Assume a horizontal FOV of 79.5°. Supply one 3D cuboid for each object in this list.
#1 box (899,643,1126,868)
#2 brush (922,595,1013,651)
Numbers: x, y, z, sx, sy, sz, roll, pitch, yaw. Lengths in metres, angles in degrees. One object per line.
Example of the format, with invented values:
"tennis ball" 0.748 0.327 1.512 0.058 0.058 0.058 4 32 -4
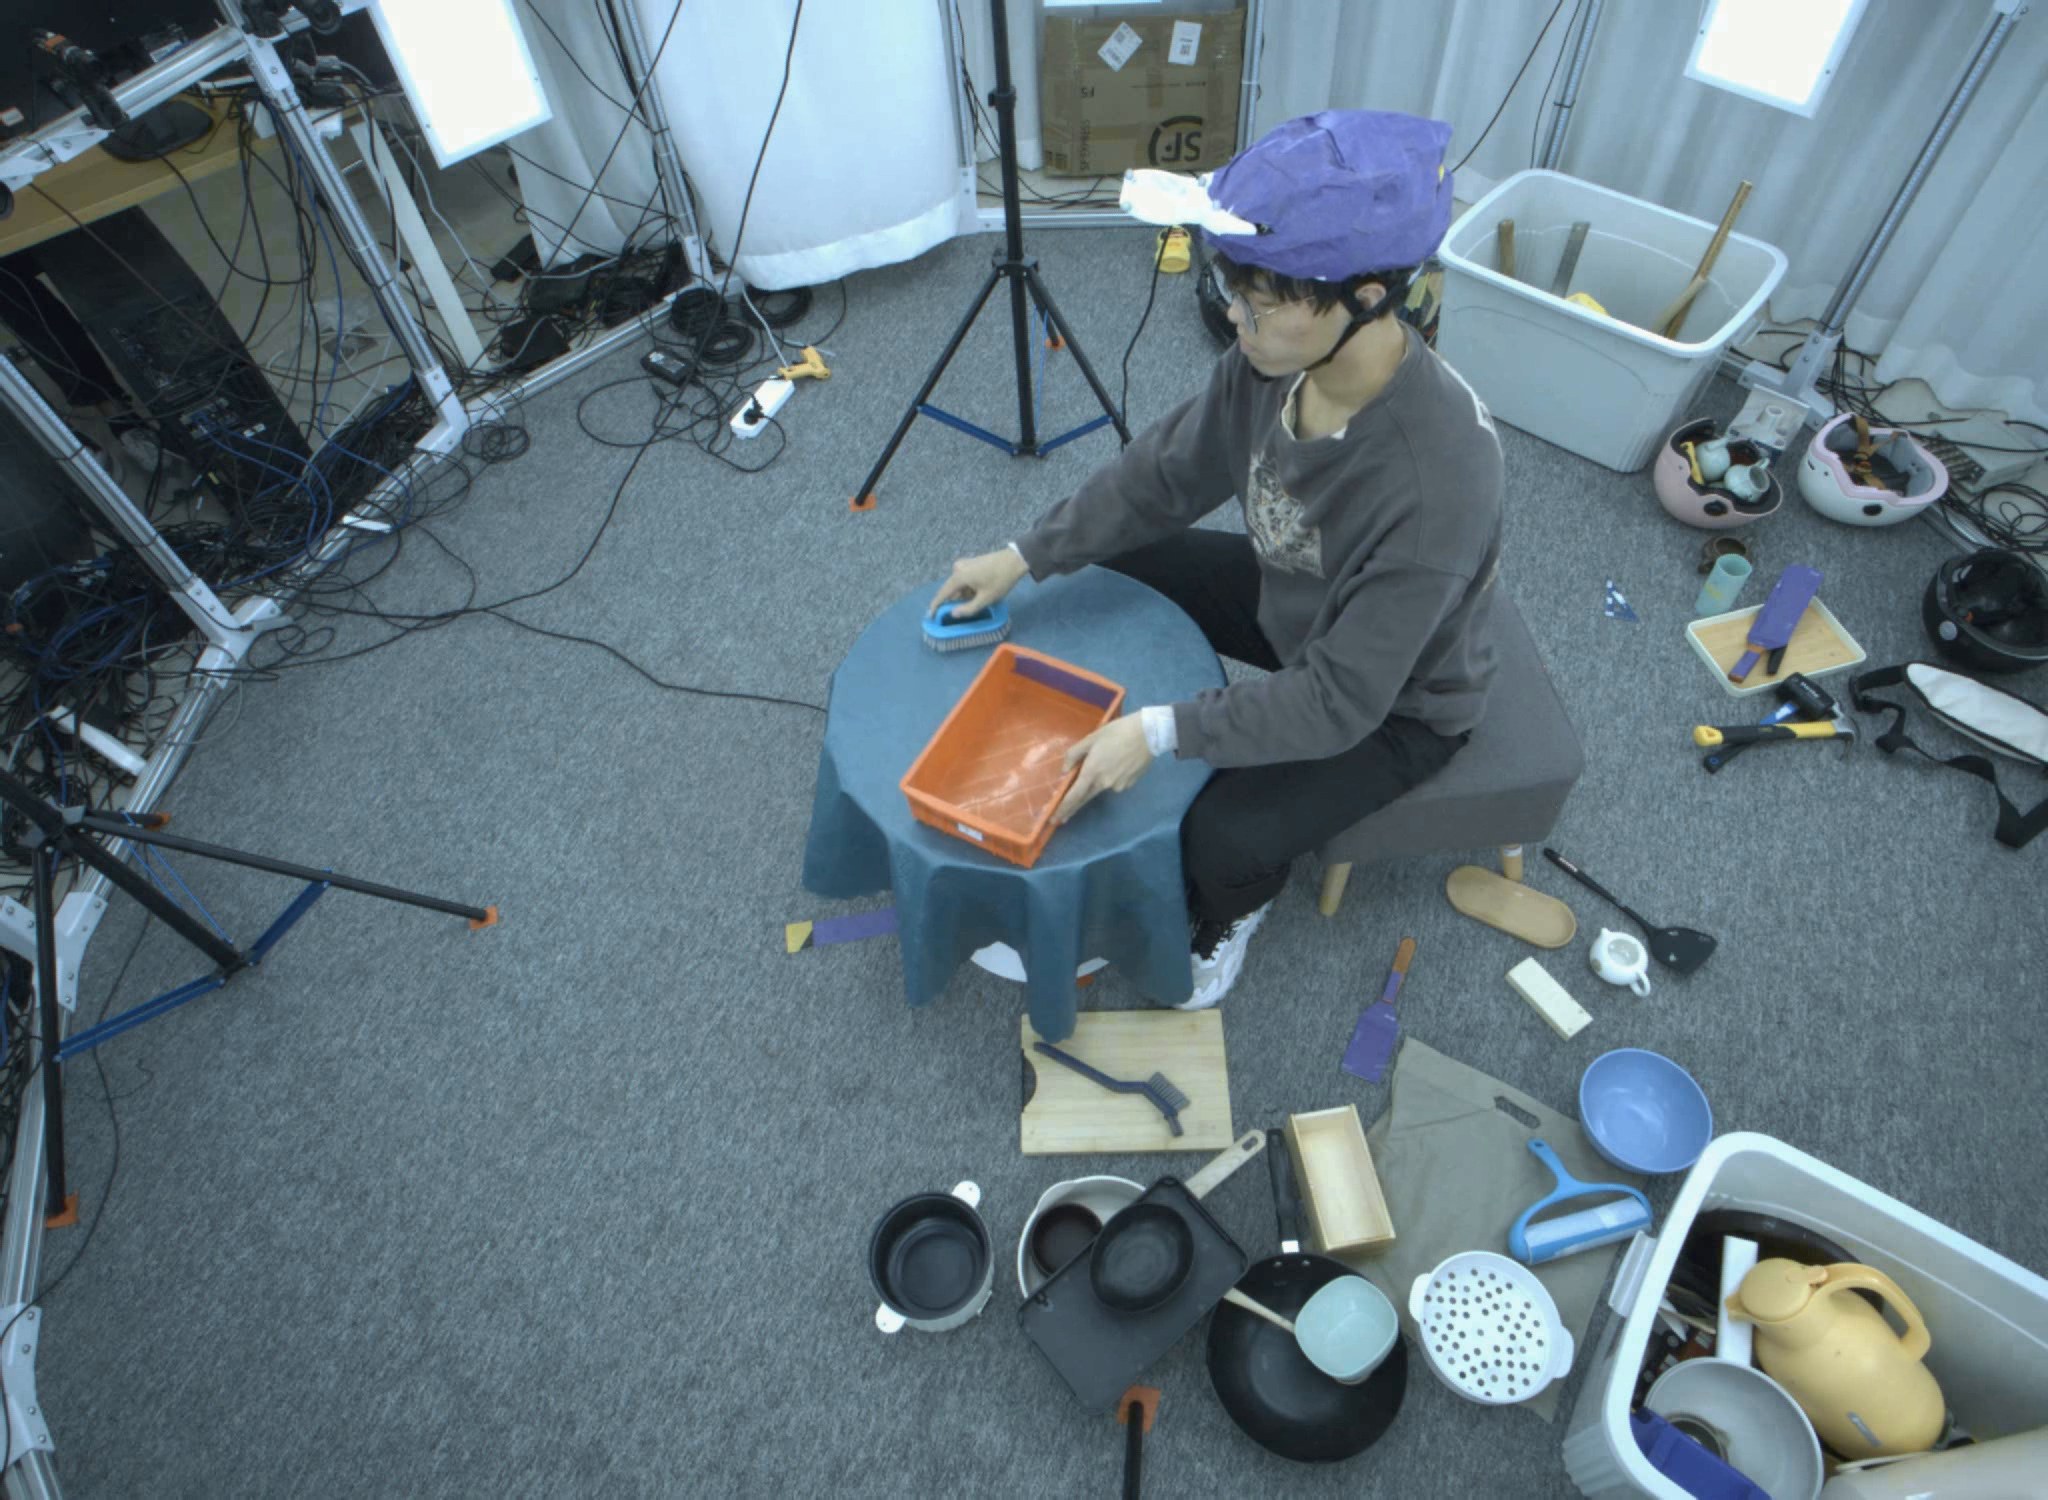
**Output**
"box" -0.009 0.006 1.728 0.204 0.097 0.304 23 59 18
"brush" -0.090 -0.207 1.896 0.142 0.064 0.083 -7 49 -4
